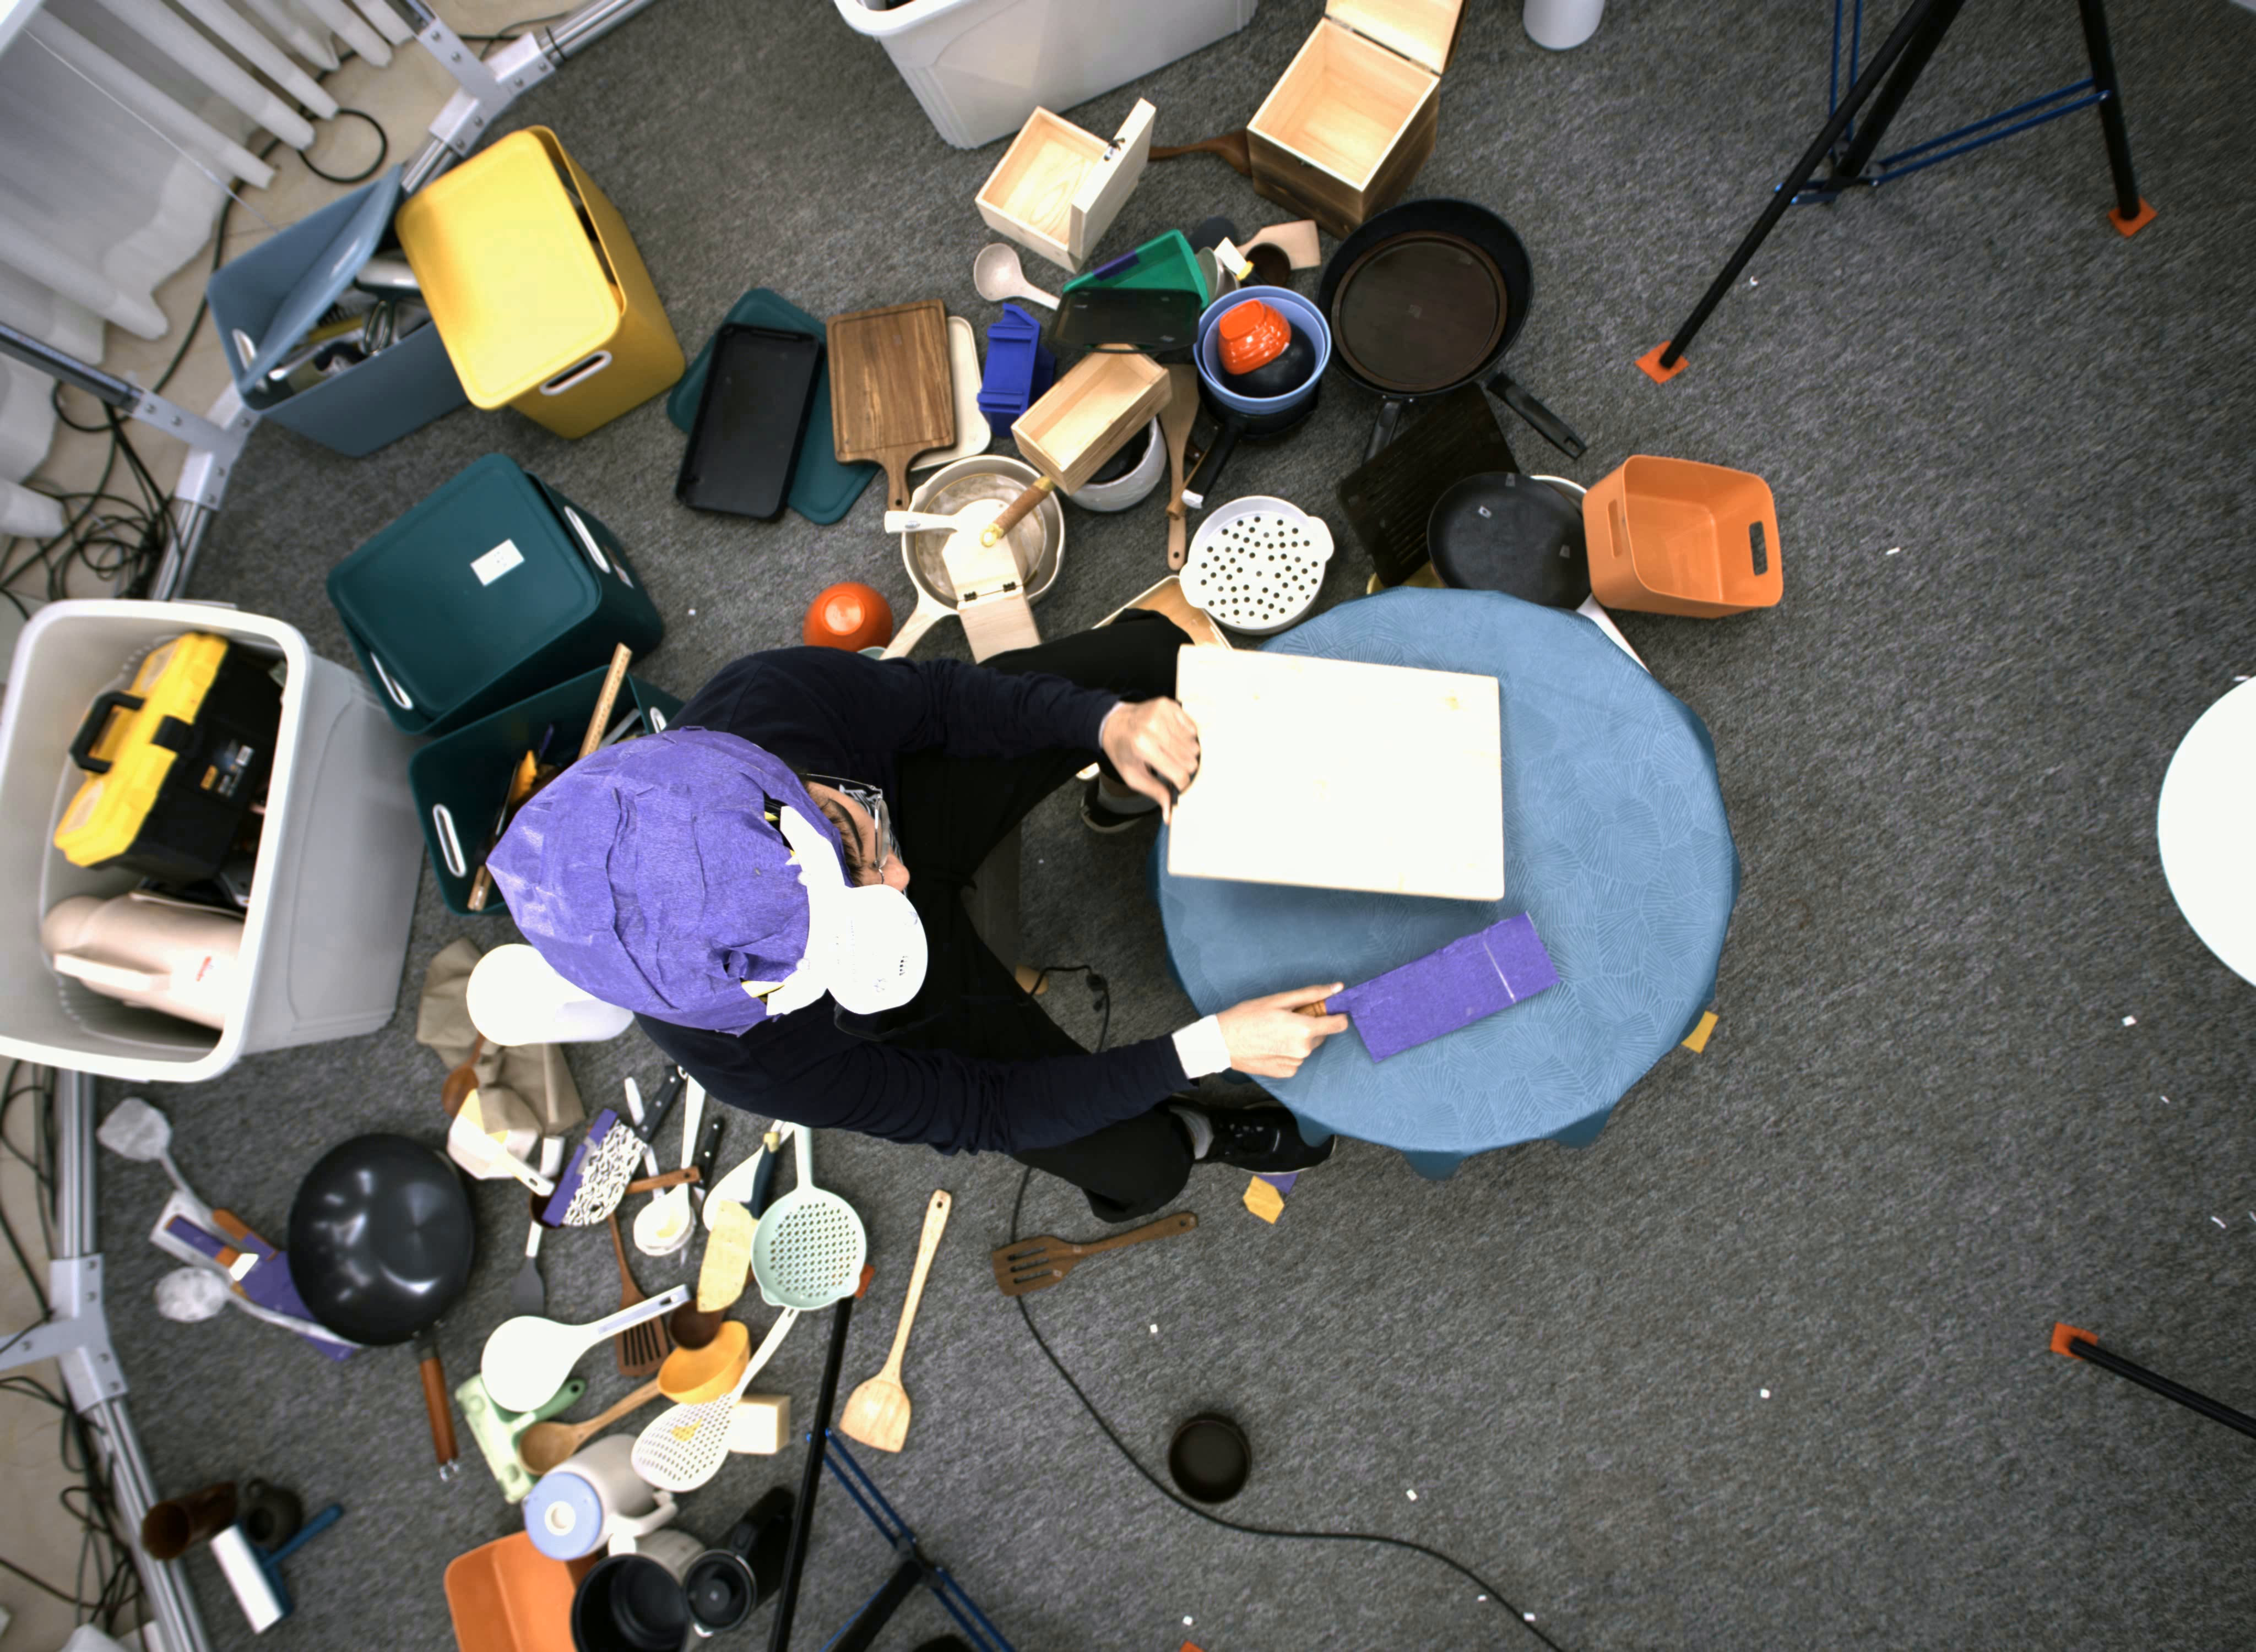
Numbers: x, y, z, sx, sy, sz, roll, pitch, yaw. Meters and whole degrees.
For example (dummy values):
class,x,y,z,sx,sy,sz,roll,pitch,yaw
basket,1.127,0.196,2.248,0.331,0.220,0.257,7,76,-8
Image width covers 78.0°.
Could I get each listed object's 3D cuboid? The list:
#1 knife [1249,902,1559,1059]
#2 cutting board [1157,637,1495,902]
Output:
class,x,y,z,sx,sy,sz,roll,pitch,yaw
knife,0.282,0.183,1.412,0.318,0.031,0.105,-26,106,16
cutting board,0.207,-0.059,1.396,0.349,0.024,0.247,5,74,-6
